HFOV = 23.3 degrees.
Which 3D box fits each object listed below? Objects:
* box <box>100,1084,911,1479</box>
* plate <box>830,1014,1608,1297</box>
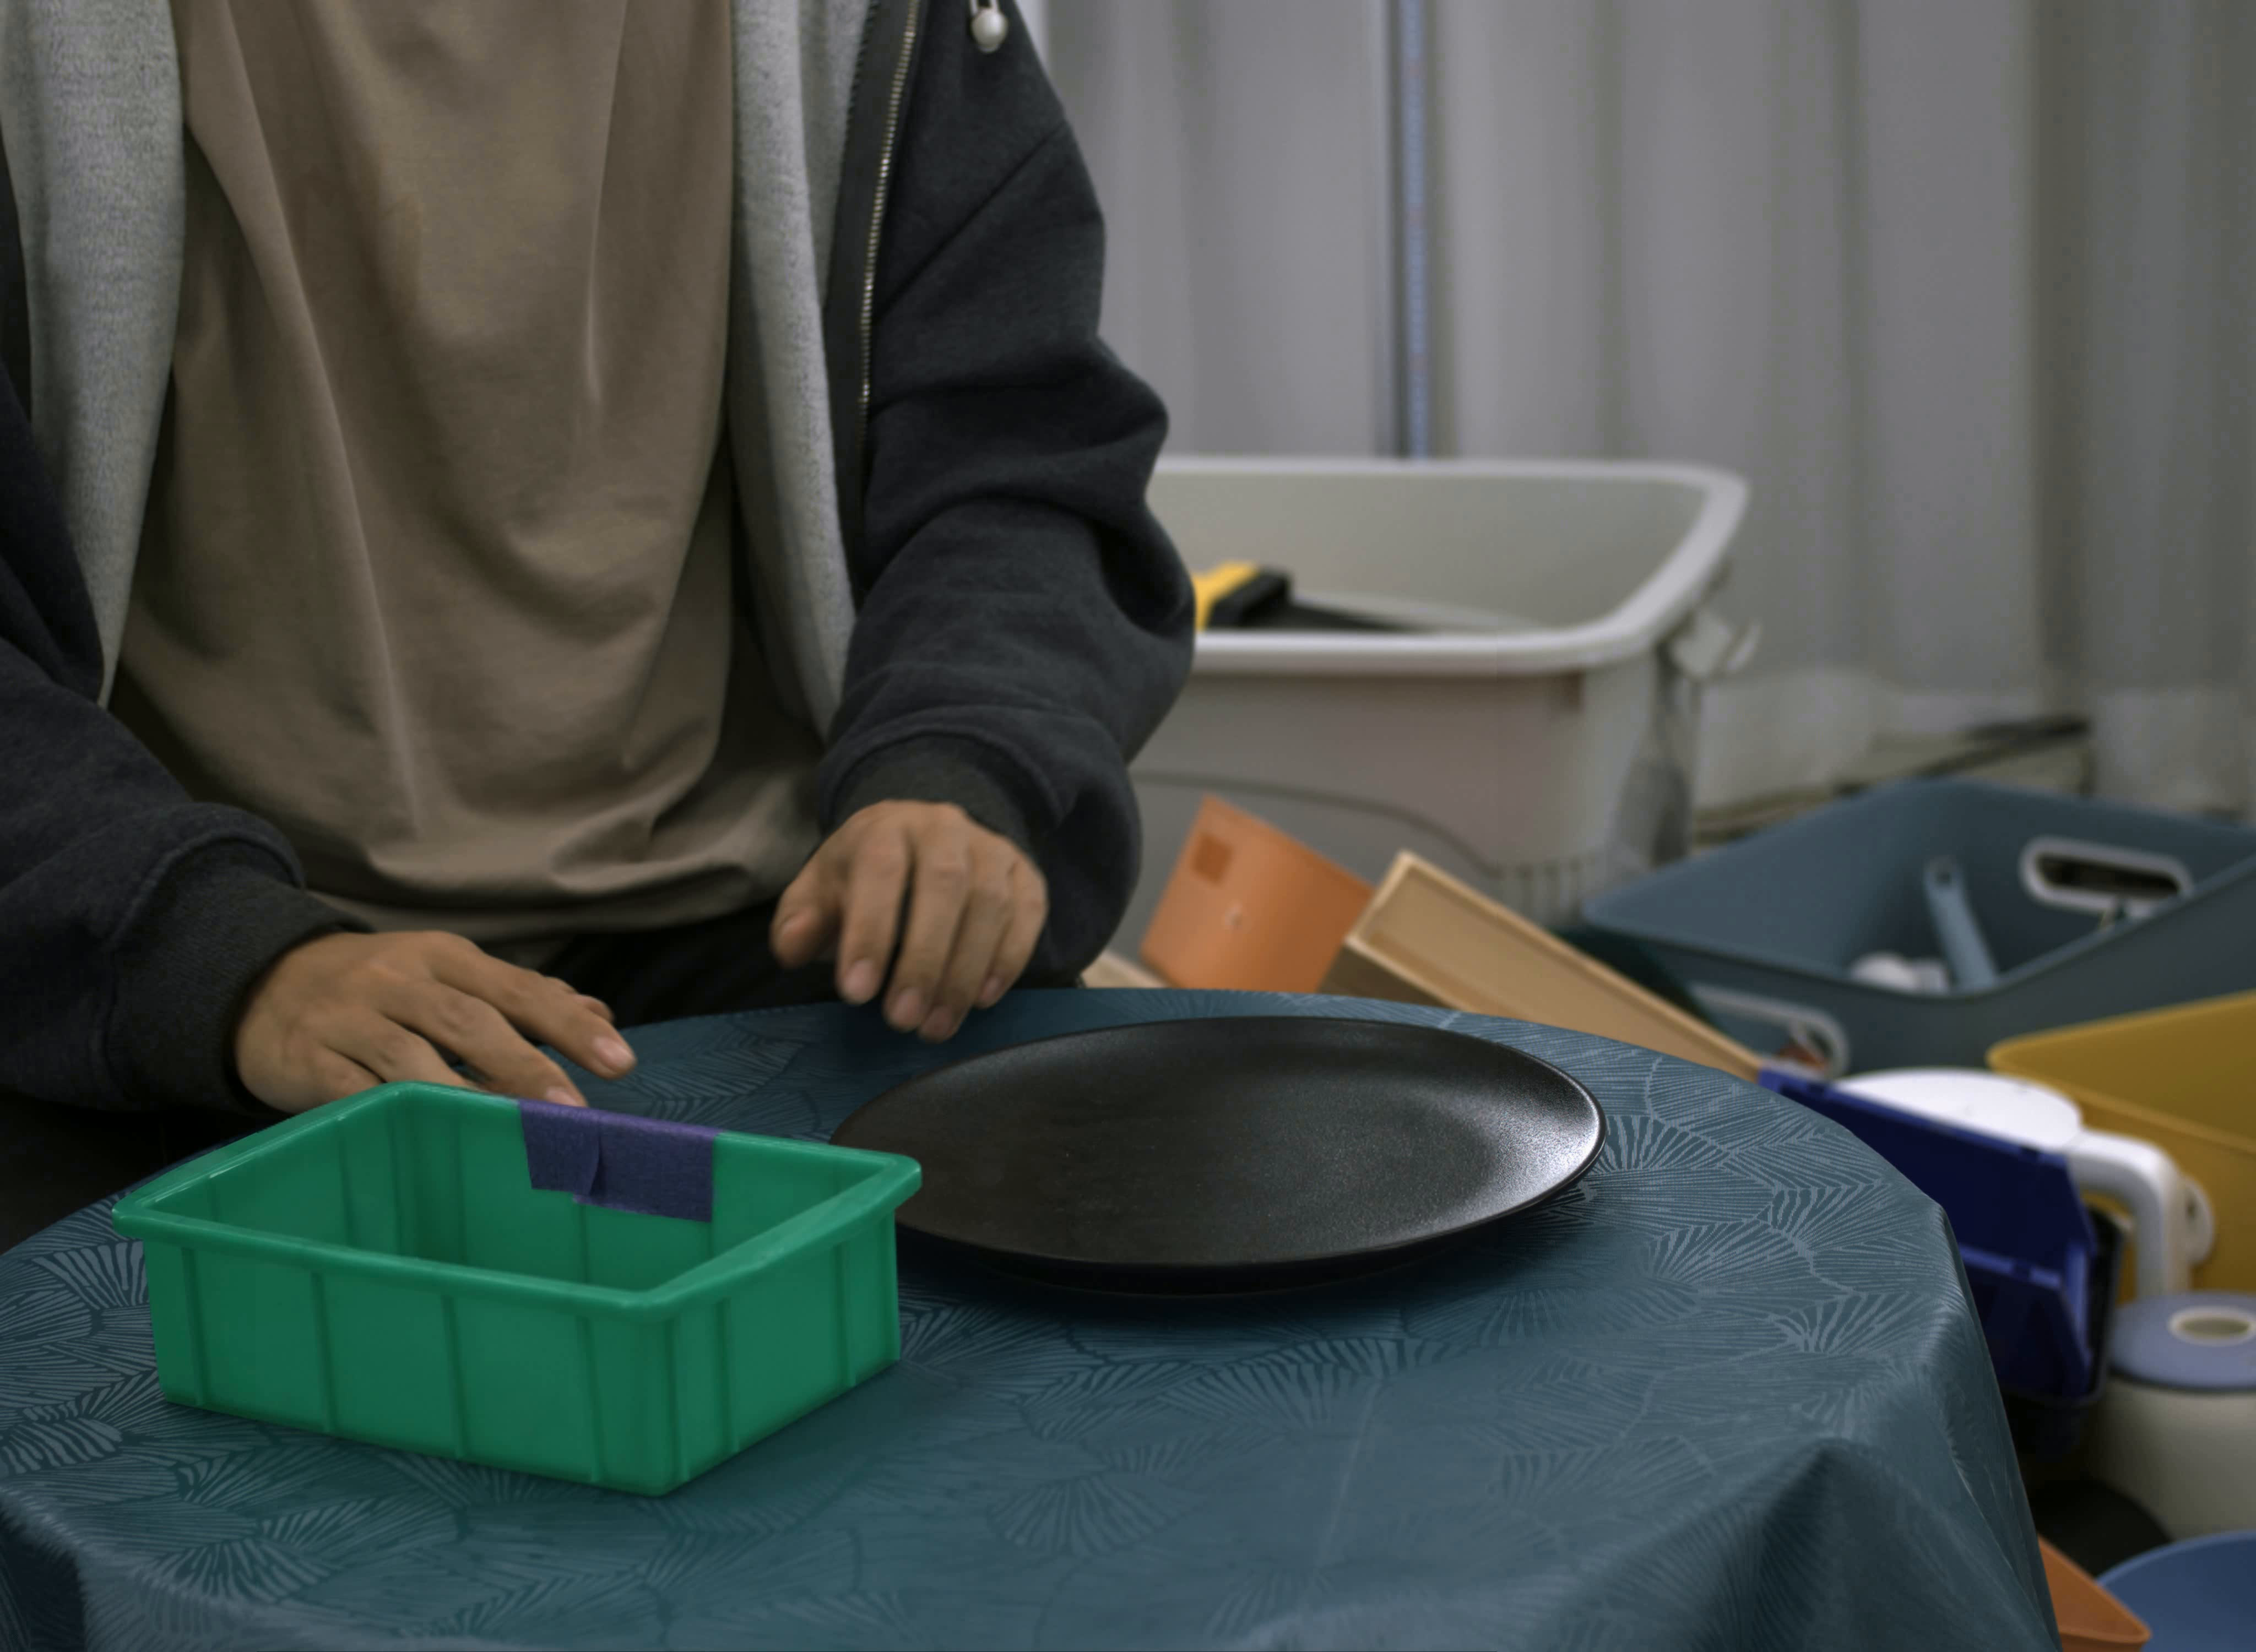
[{"bbox_3d":[-0.176,0.130,1.571,0.211,0.065,0.138,4,14,31],"label":"box"},{"bbox_3d":[0.028,0.105,1.703,0.243,0.023,0.246,-3,15,1],"label":"plate"}]
